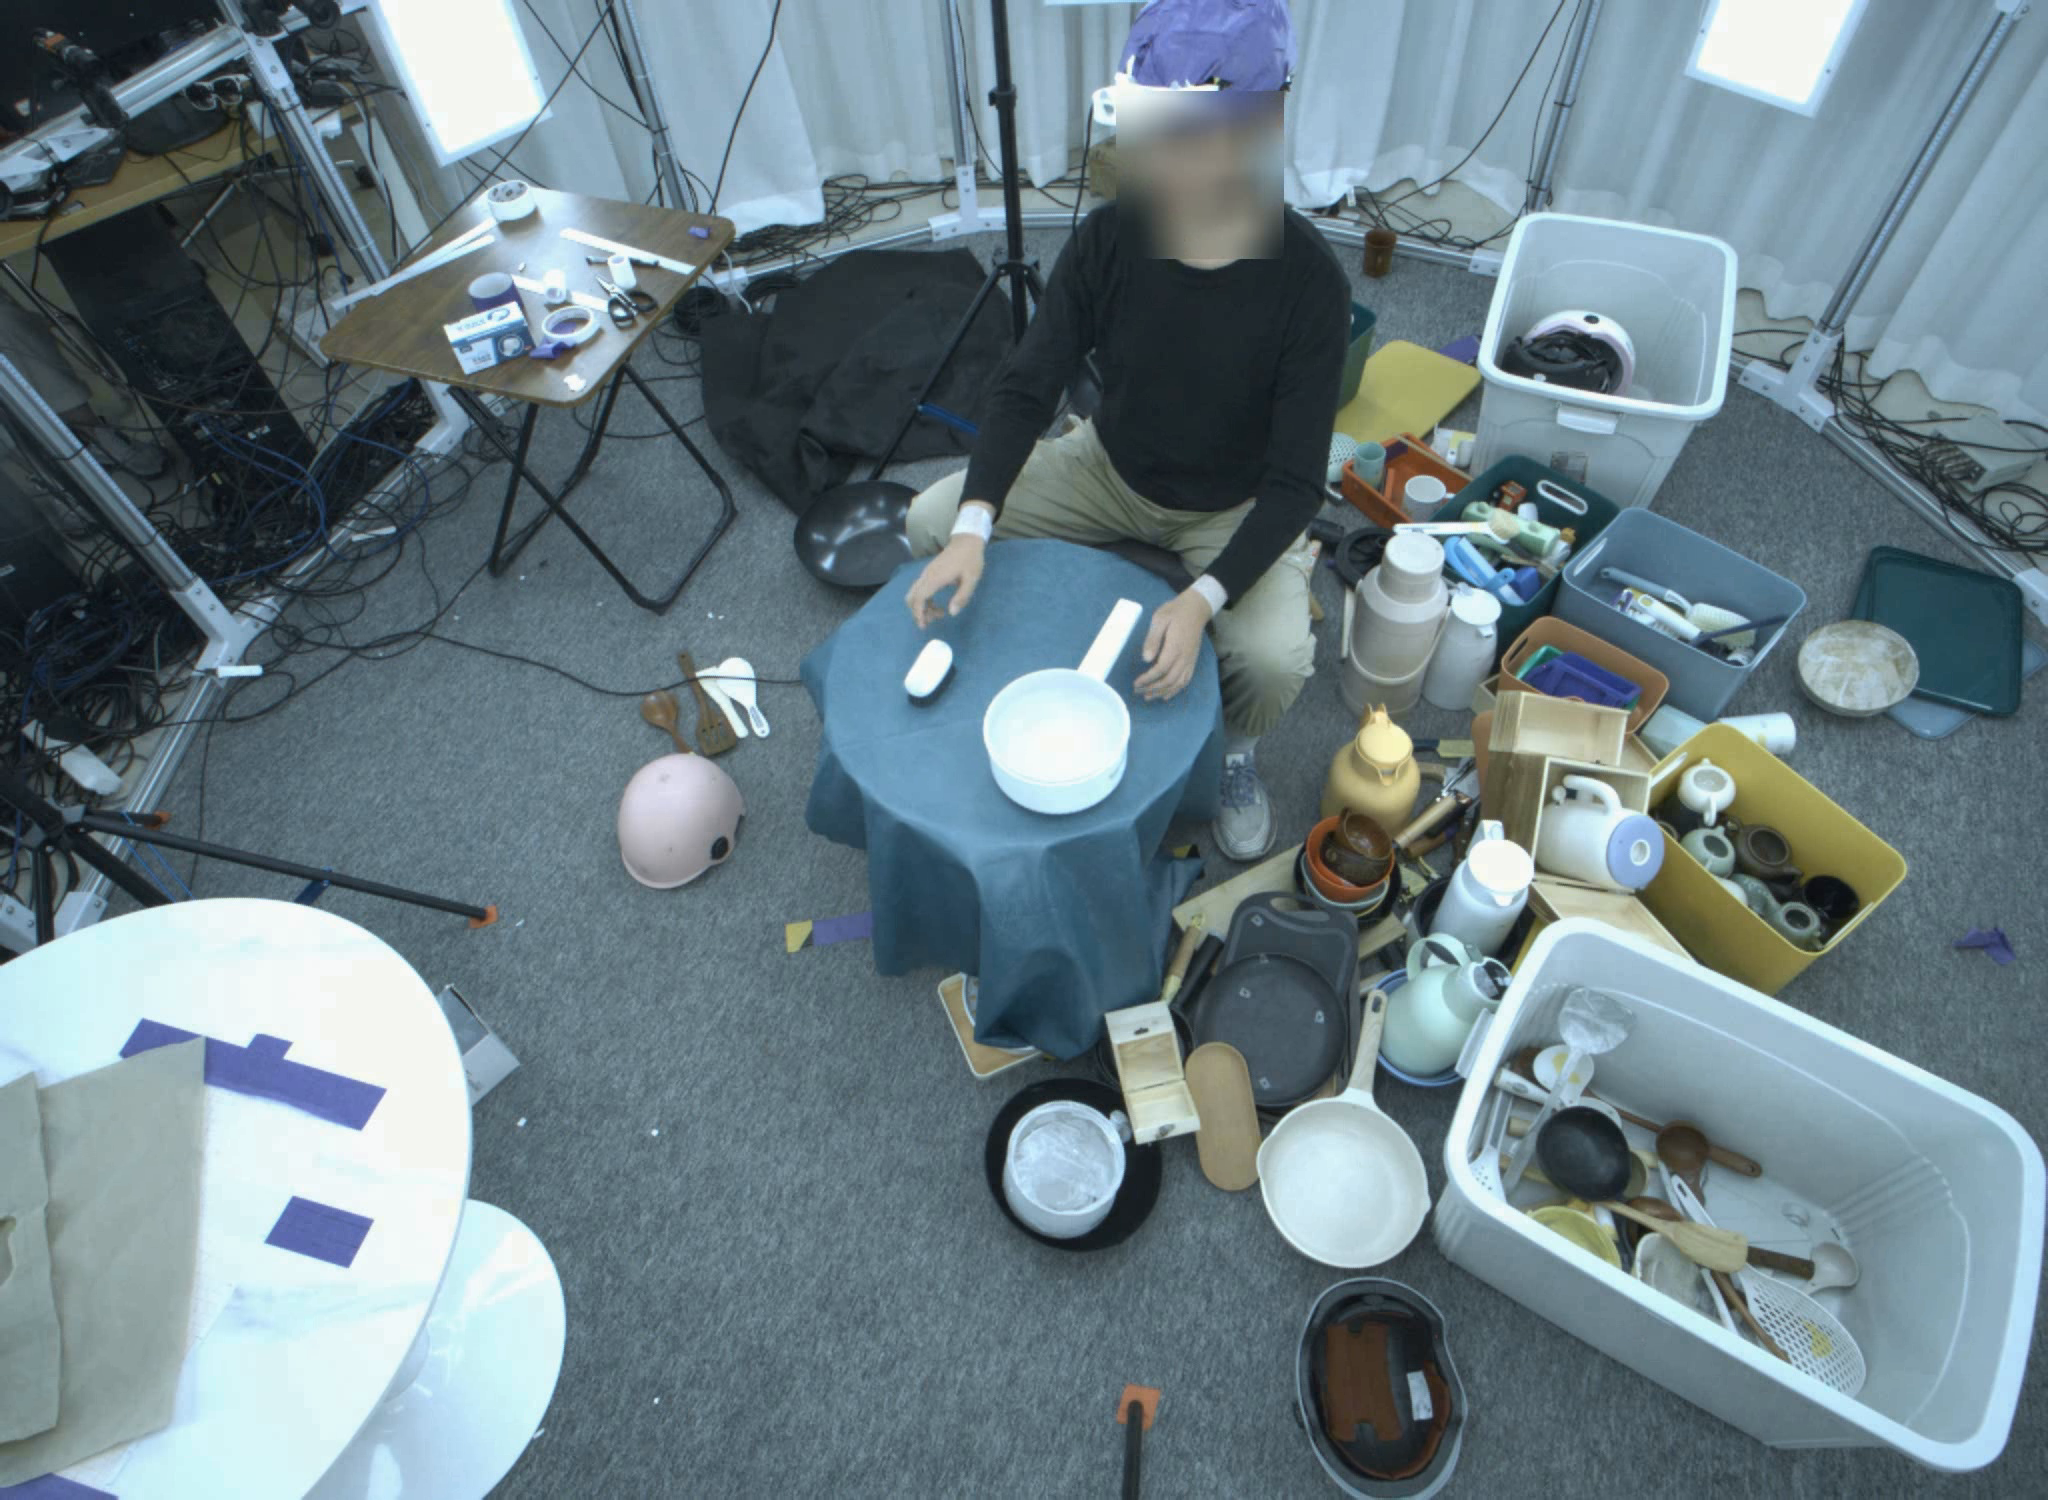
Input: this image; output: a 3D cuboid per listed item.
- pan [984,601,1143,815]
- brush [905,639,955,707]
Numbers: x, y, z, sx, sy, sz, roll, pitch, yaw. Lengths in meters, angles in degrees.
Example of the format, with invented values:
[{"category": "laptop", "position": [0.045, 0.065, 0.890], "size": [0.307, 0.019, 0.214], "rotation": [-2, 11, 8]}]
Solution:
[{"category": "pan", "position": [0.082, -0.062, 1.771], "size": [0.198, 0.103, 0.355], "rotation": [20, 57, 18]}, {"category": "brush", "position": [-0.143, -0.123, 1.835], "size": [0.049, 0.073, 0.099], "rotation": [21, 59, 18]}]
